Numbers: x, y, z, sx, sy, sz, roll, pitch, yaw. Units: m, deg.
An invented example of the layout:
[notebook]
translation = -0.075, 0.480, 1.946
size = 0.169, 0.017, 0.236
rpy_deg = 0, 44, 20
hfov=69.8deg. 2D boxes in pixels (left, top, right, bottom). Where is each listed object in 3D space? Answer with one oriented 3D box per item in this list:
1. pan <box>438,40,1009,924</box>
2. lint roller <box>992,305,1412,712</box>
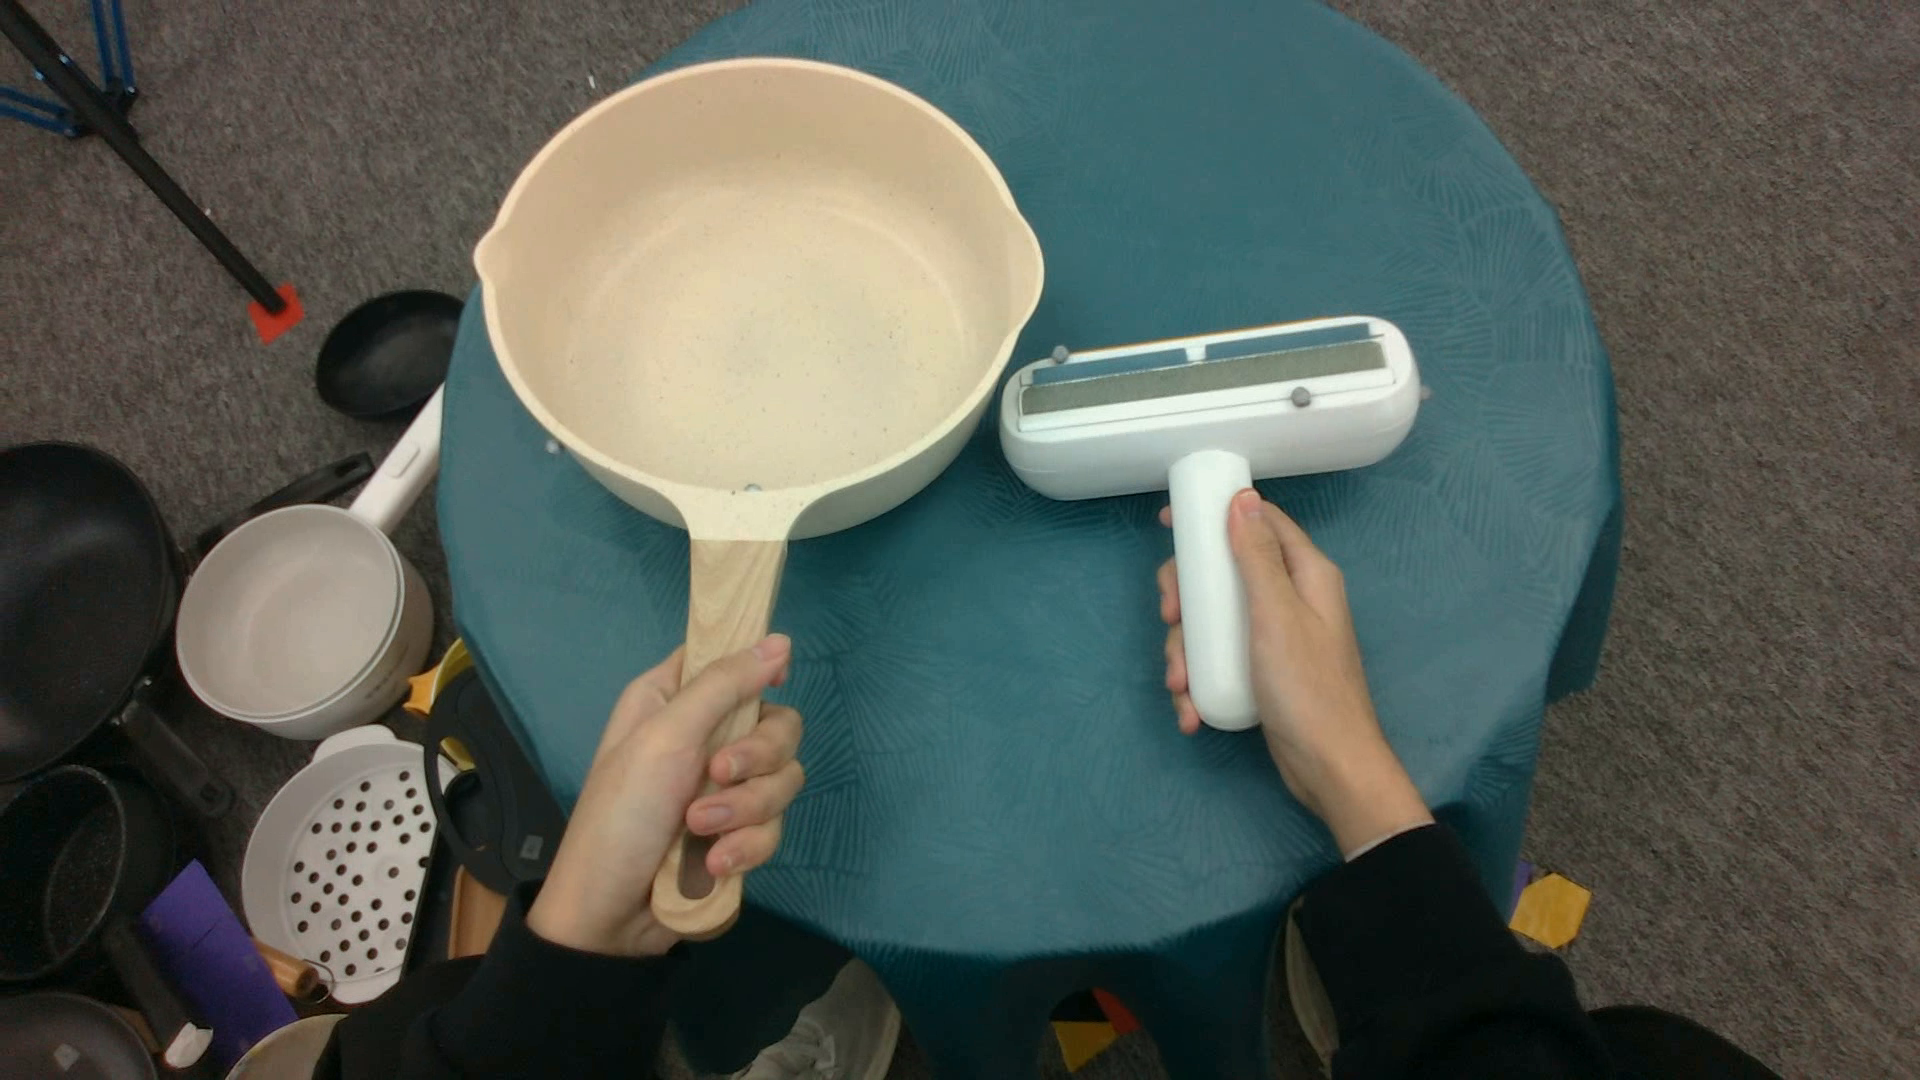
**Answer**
[pan]
translation = -0.108, -0.041, 0.628
size = 0.263, 0.101, 0.436
rpy_deg = 1, 64, -5
[lint roller]
translation = 0.108, -0.019, 0.625
size = 0.193, 0.074, 0.193
rpy_deg = -1, 57, 8
